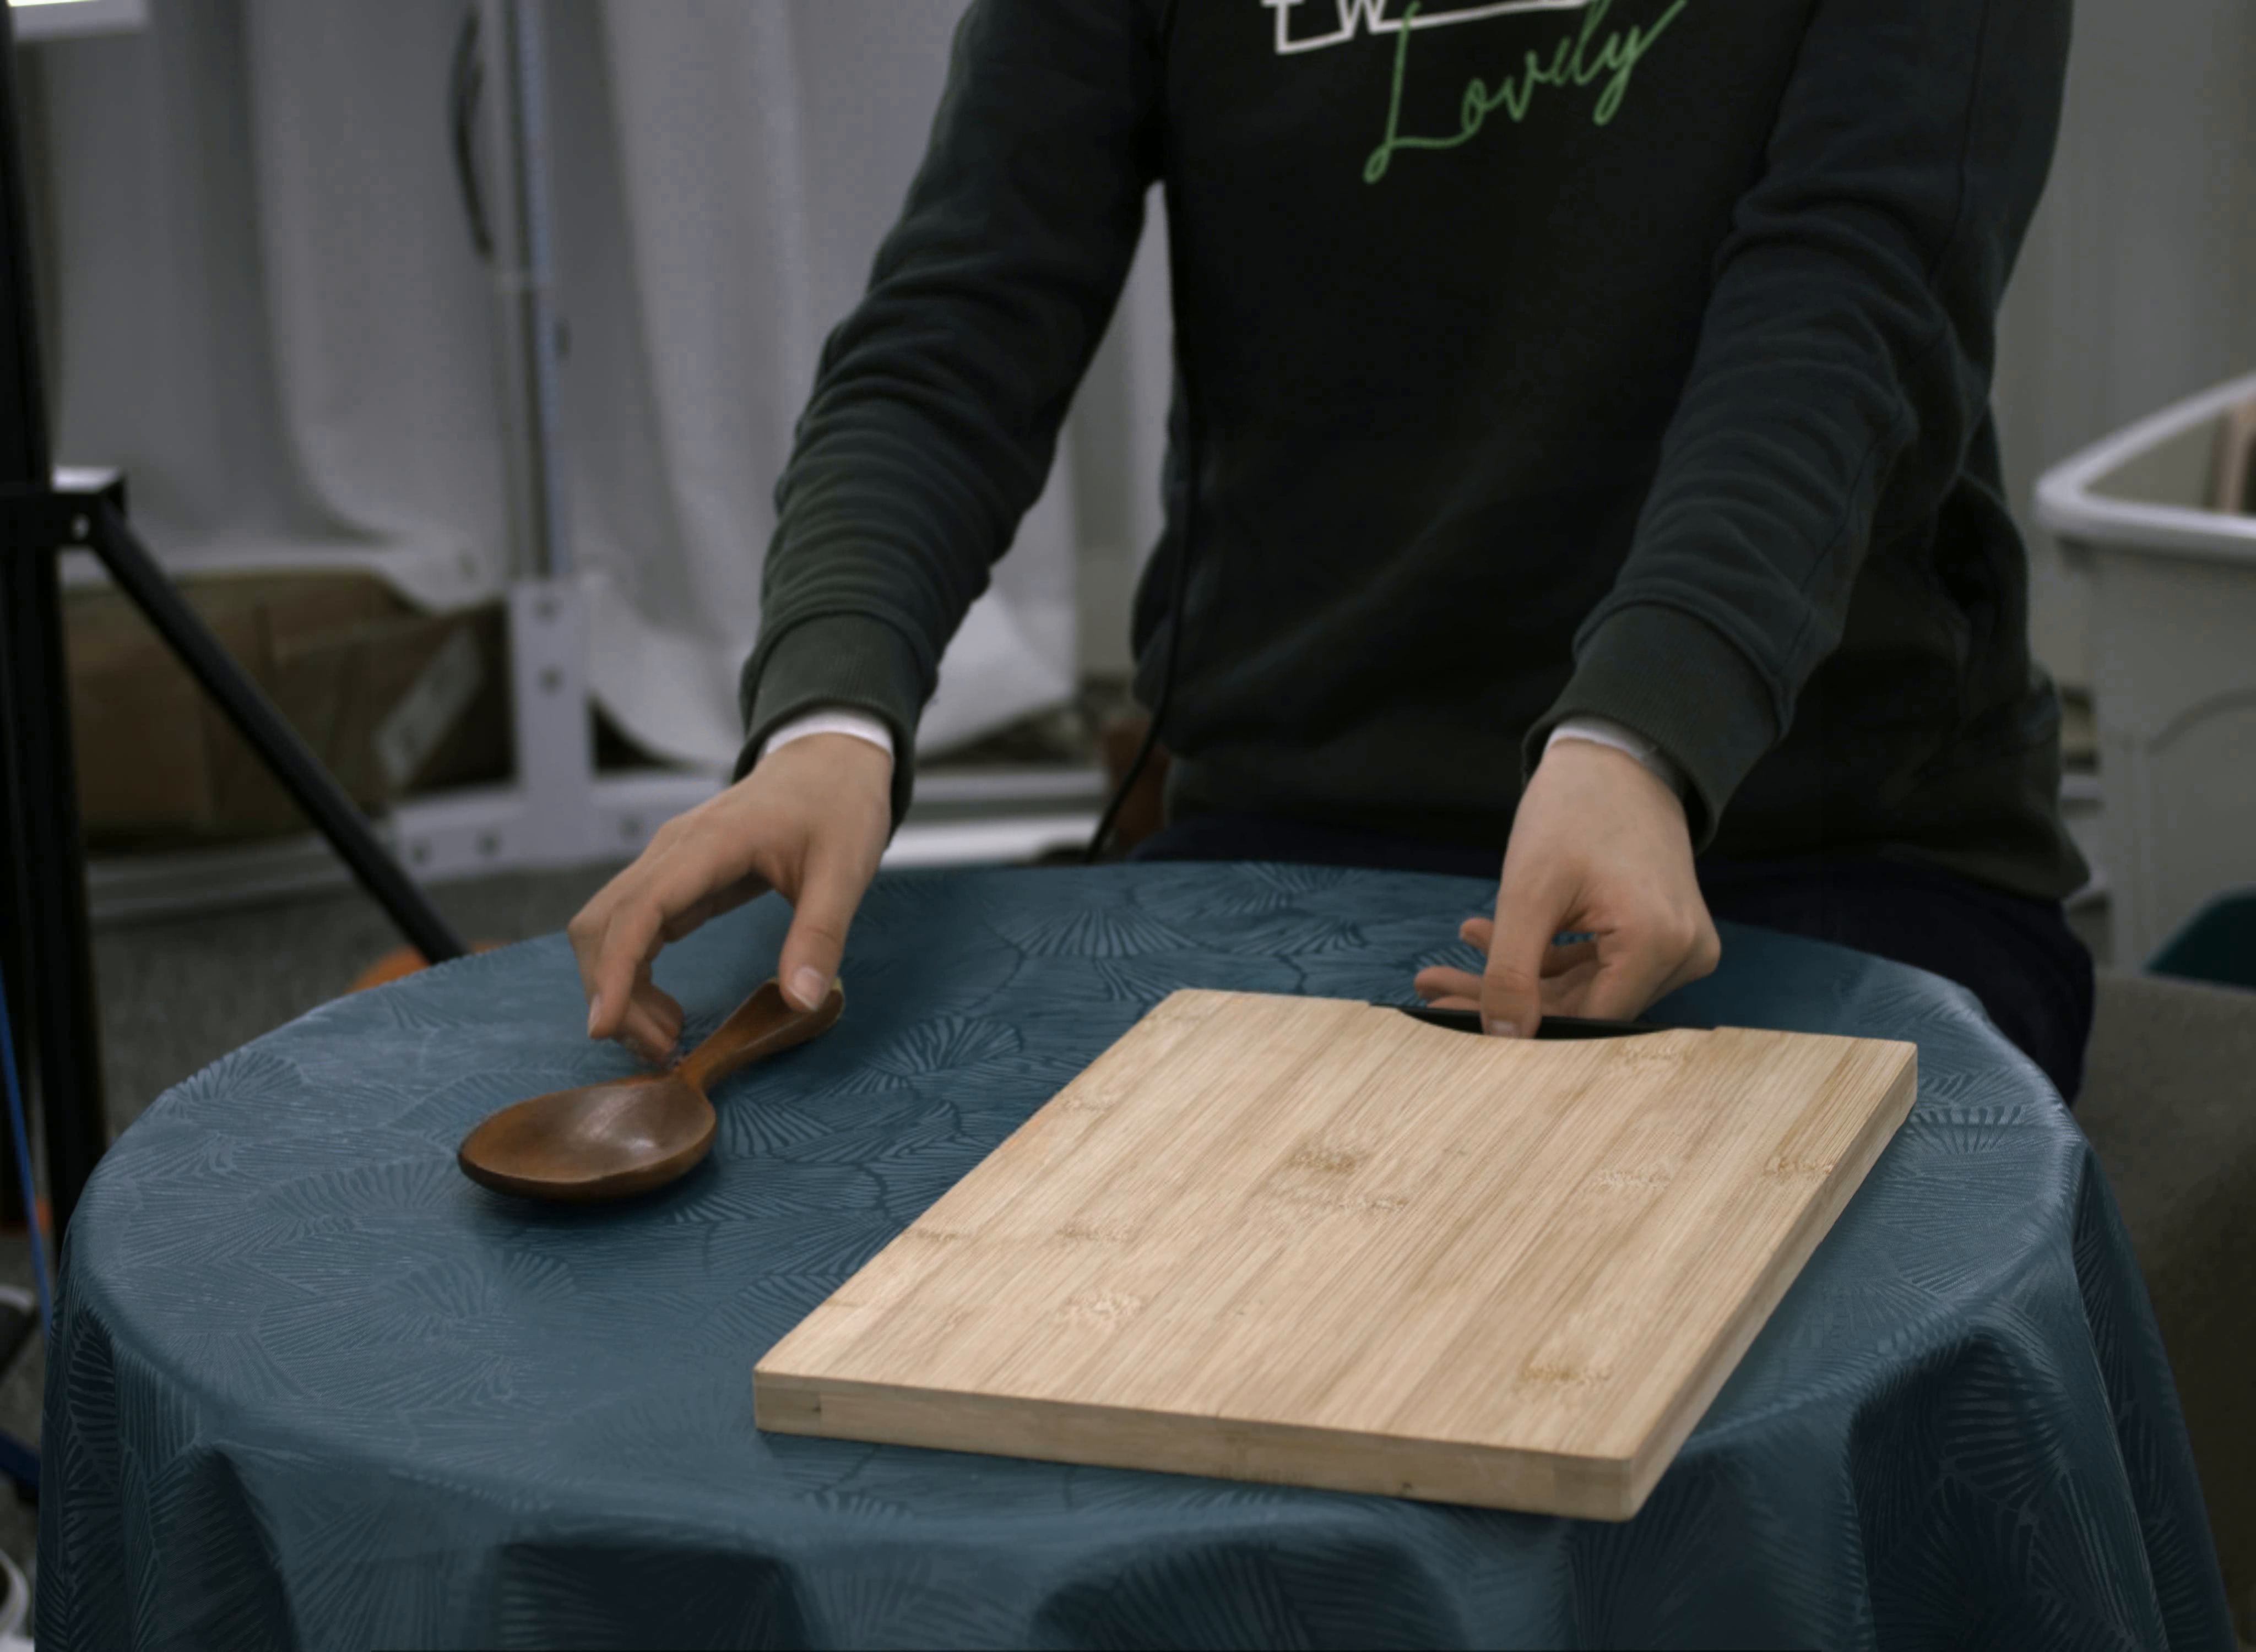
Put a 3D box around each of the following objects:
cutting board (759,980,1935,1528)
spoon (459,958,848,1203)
[{"bbox_3d":[0.074,0.112,1.503,0.253,0.023,0.344,4,17,20],"label":"cutting board"},{"bbox_3d":[-0.137,0.080,1.647,0.076,0.017,0.213,2,17,22],"label":"spoon"}]
